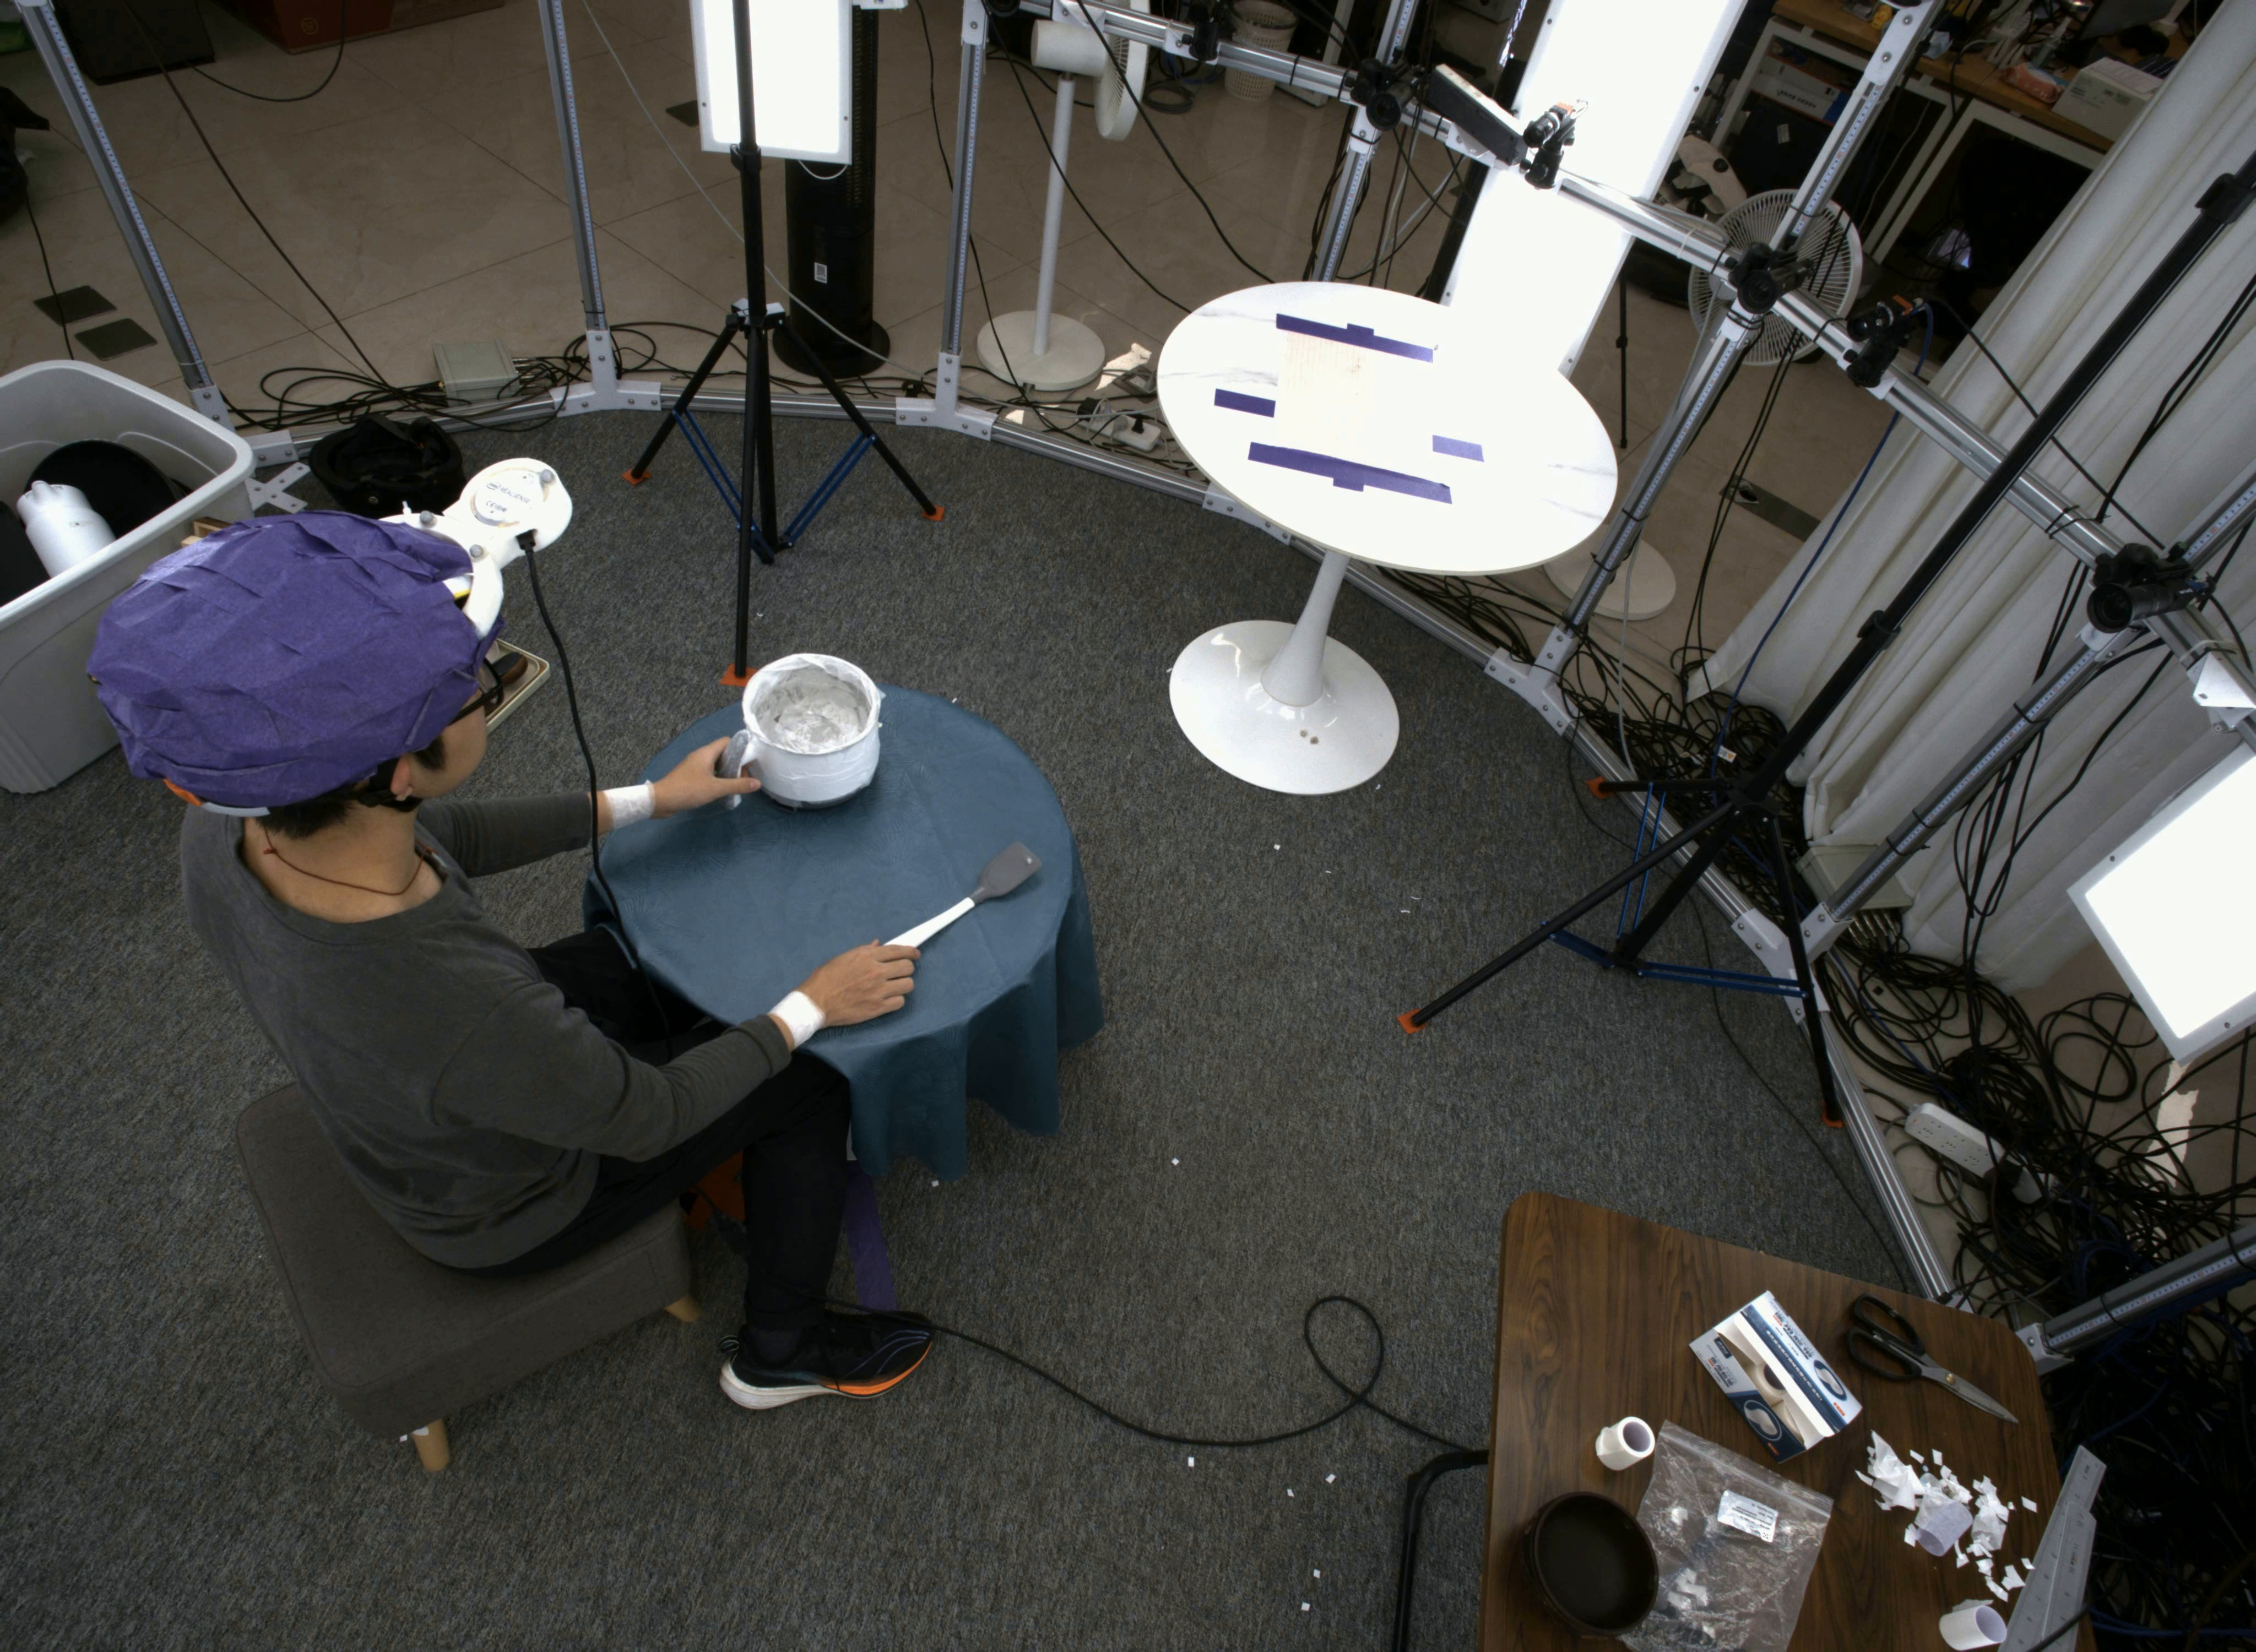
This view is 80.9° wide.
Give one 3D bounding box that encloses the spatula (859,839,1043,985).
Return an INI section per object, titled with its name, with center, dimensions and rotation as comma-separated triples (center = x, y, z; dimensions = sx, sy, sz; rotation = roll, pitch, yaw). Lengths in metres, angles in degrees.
[spatula]
center = -0.227, 0.109, 1.683
dimensions = 0.057, 0.033, 0.288
rotation = 39, 54, 21

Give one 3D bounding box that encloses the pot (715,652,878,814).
[pot]
center = -0.444, -0.110, 1.723
dimensions = 0.234, 0.139, 0.174
rotation = -34, 66, -32
